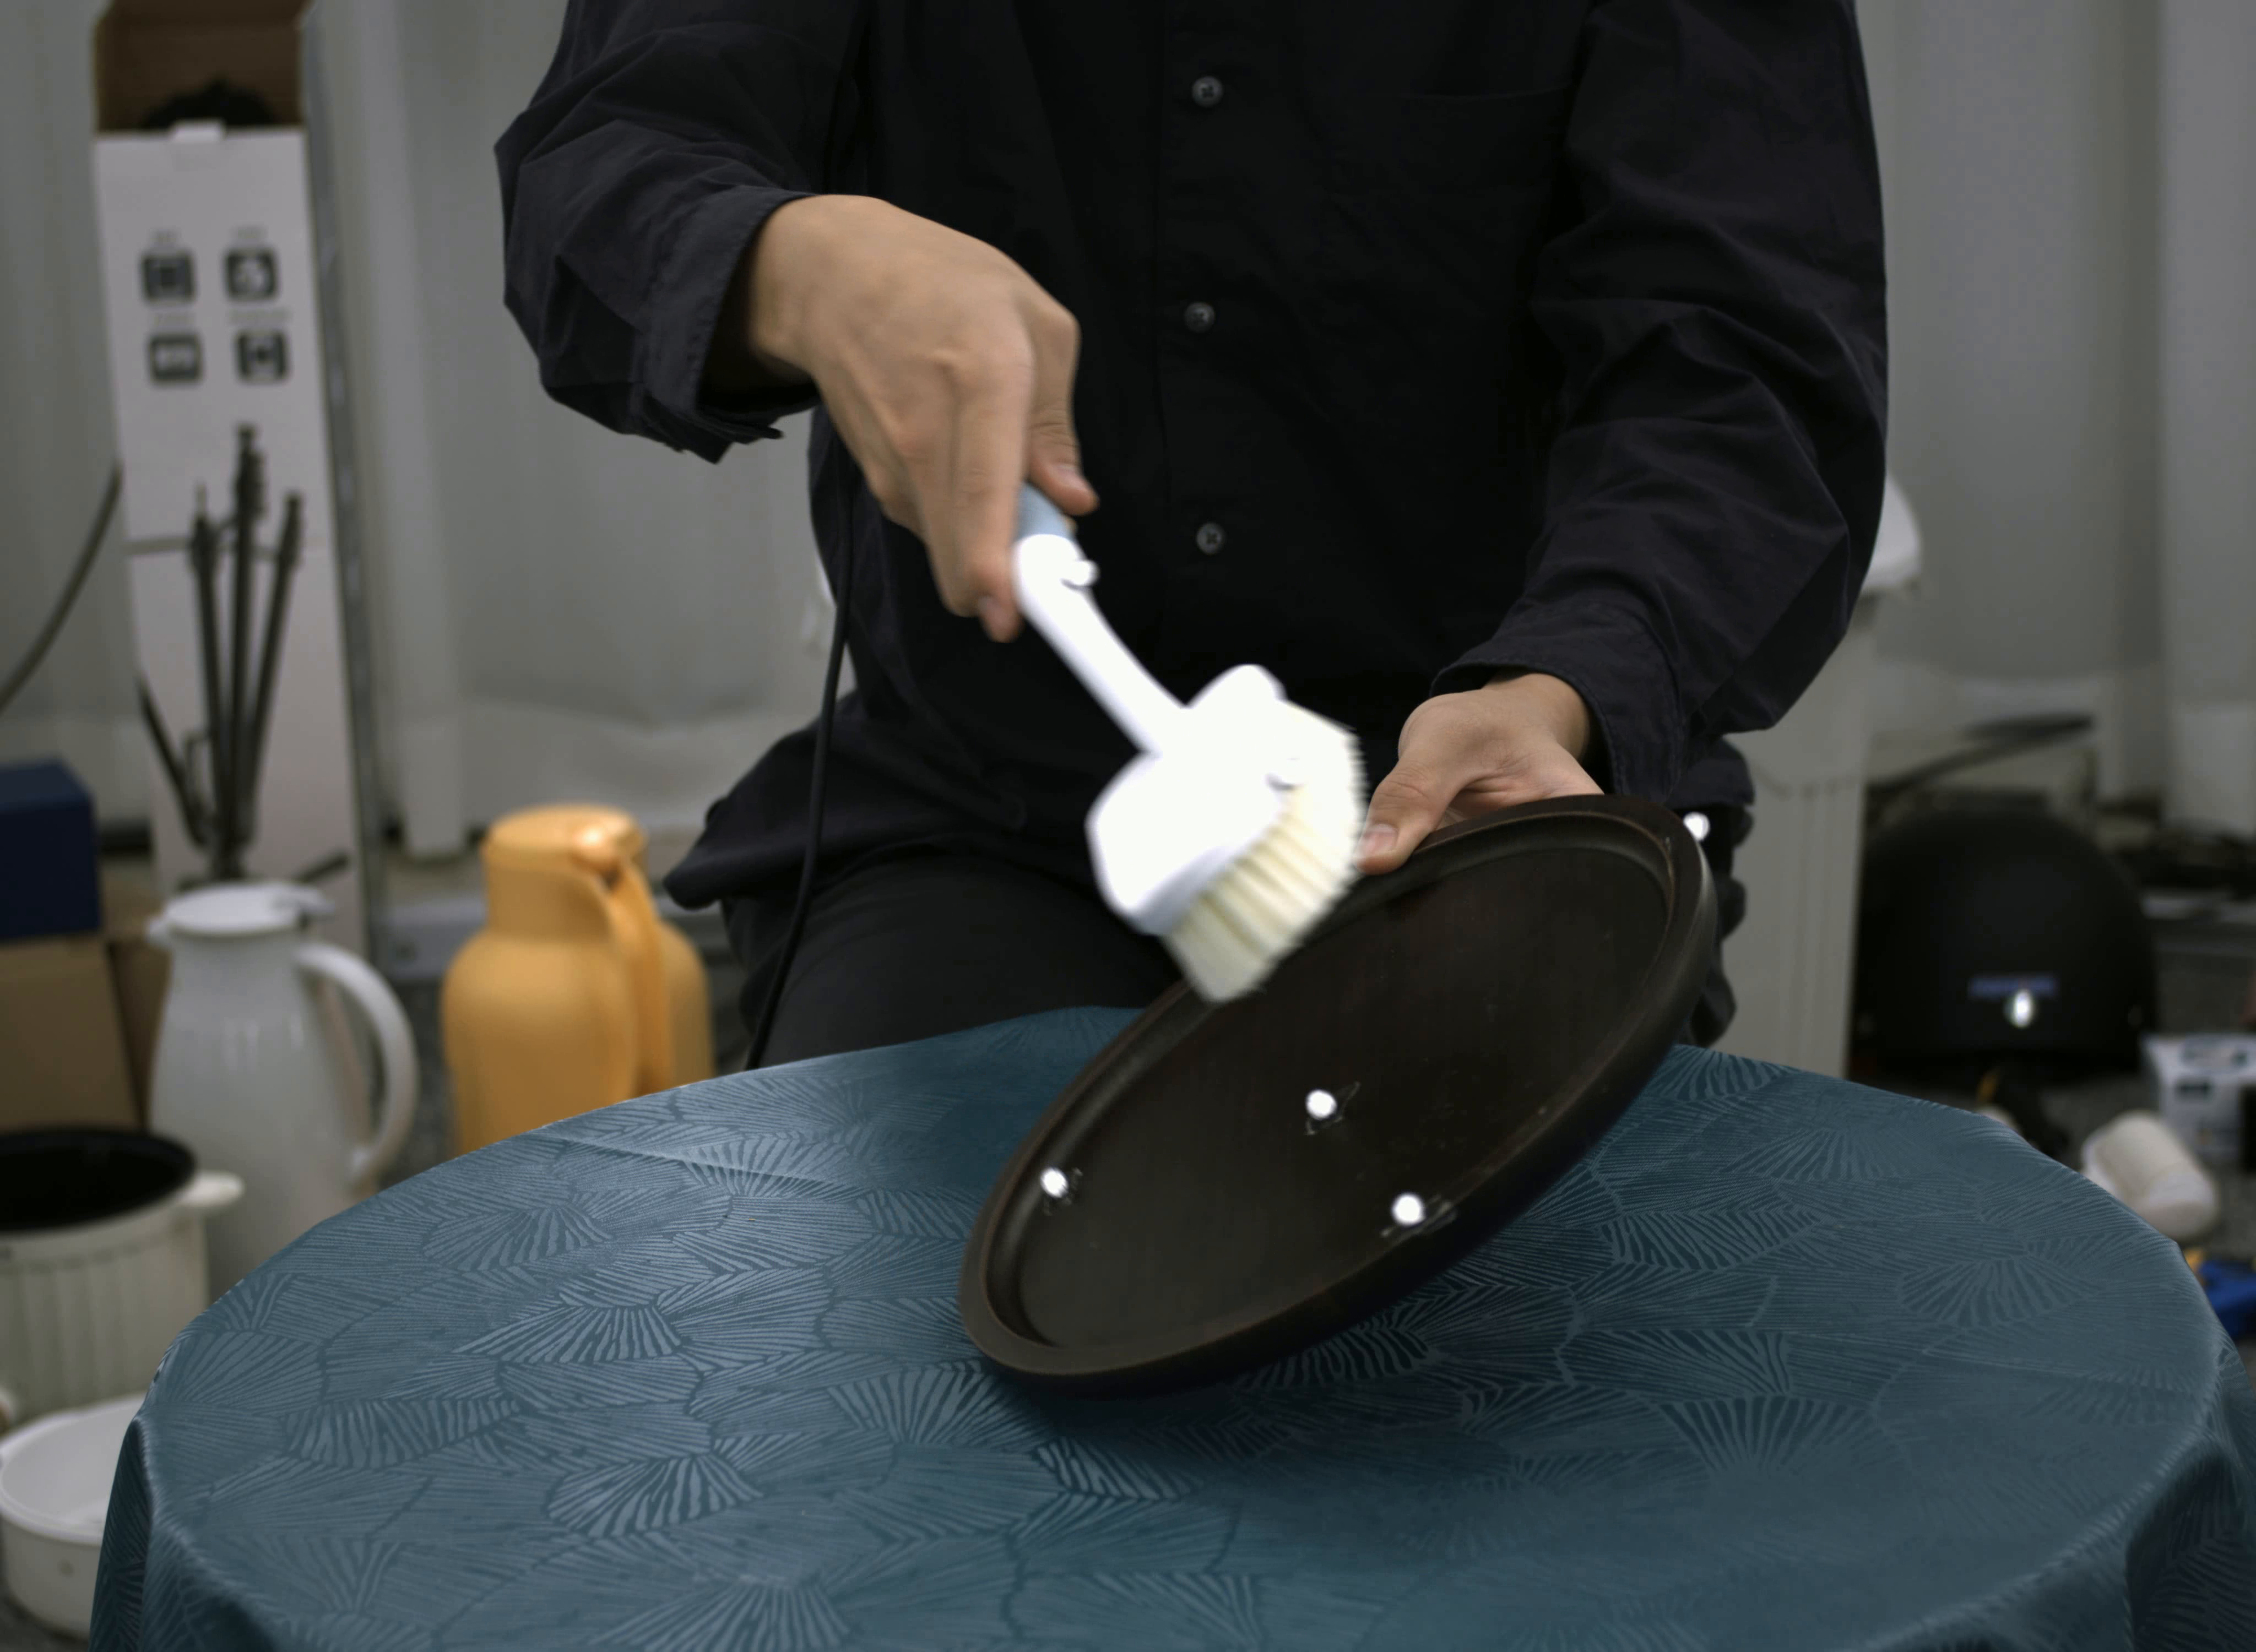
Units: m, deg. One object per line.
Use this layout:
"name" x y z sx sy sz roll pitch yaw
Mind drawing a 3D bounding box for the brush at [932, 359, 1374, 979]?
"brush" 0.014 -0.049 1.606 0.083 0.083 0.330 -14 30 -7

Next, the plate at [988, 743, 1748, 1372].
"plate" 0.070 0.069 1.573 0.254 0.029 0.257 -32 20 12
